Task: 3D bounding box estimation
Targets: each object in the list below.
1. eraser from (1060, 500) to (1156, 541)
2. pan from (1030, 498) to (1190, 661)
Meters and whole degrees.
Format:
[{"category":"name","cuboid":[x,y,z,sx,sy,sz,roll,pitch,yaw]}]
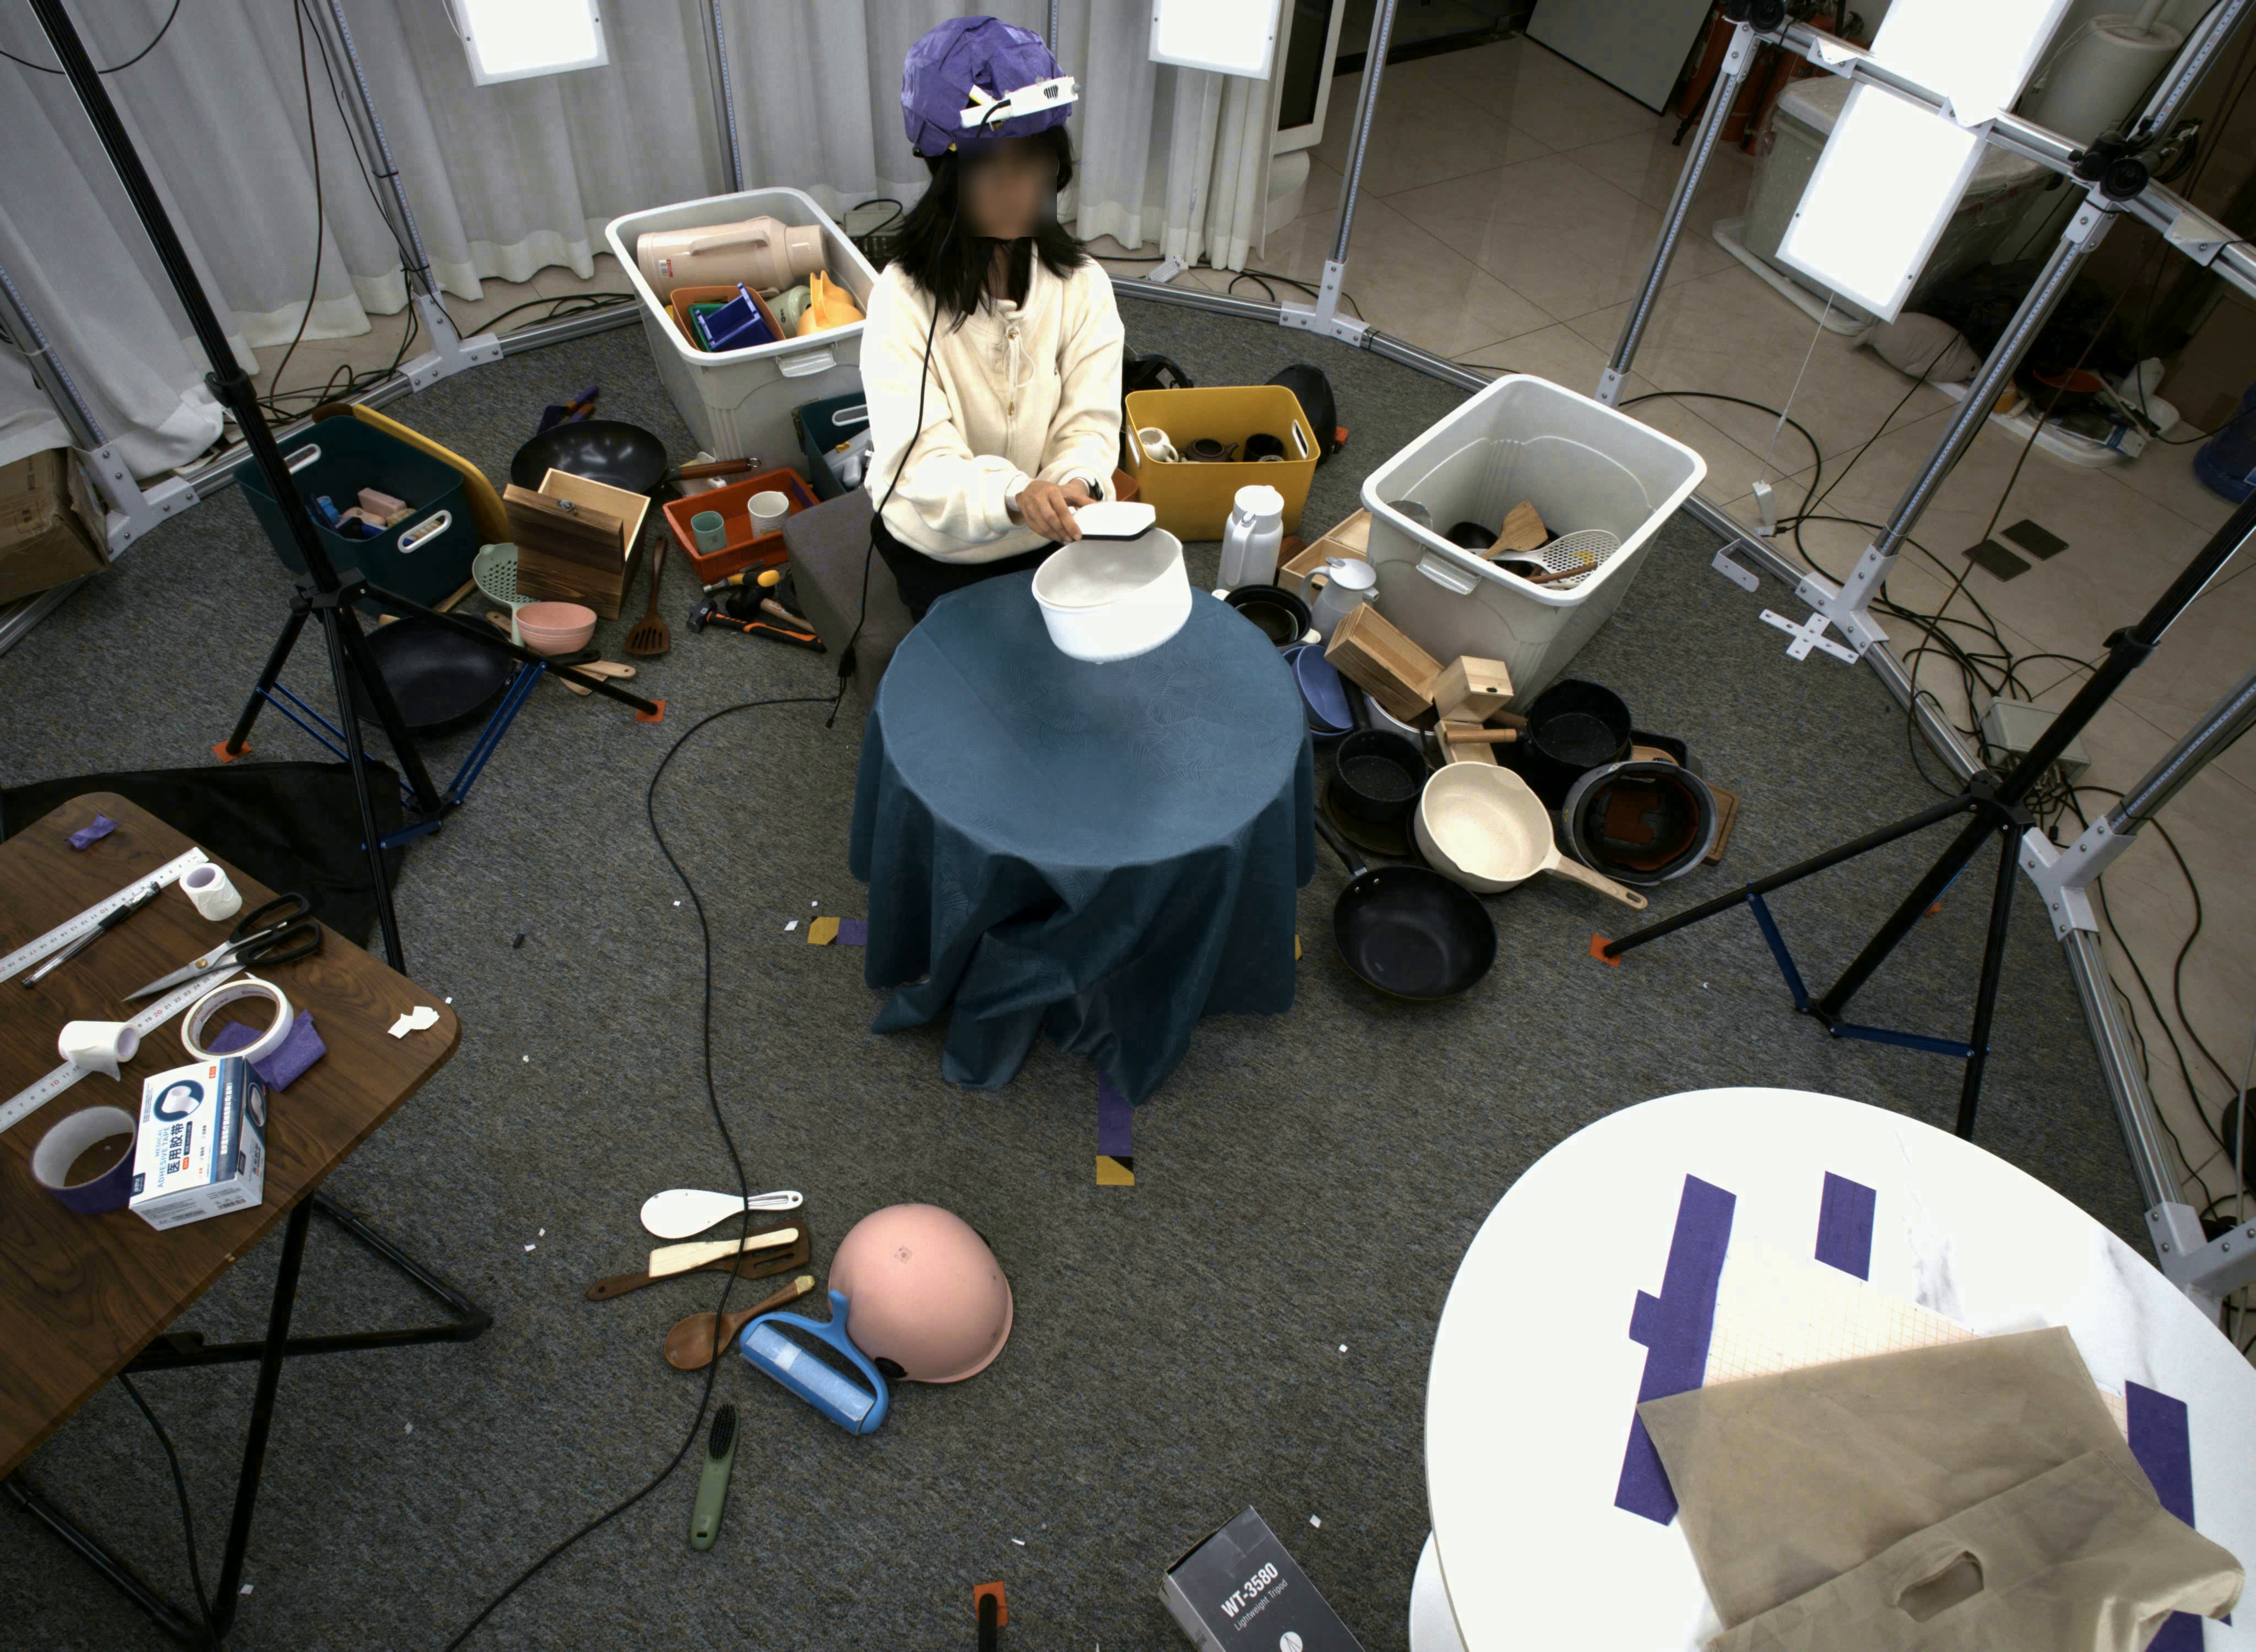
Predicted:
[{"category":"eraser","cuboid":[-0.025,-0.404,1.707,0.132,0.034,0.064,11,40,38]},{"category":"pan","cuboid":[-0.040,-0.340,1.741,0.201,0.100,0.363,-21,35,-6]}]
